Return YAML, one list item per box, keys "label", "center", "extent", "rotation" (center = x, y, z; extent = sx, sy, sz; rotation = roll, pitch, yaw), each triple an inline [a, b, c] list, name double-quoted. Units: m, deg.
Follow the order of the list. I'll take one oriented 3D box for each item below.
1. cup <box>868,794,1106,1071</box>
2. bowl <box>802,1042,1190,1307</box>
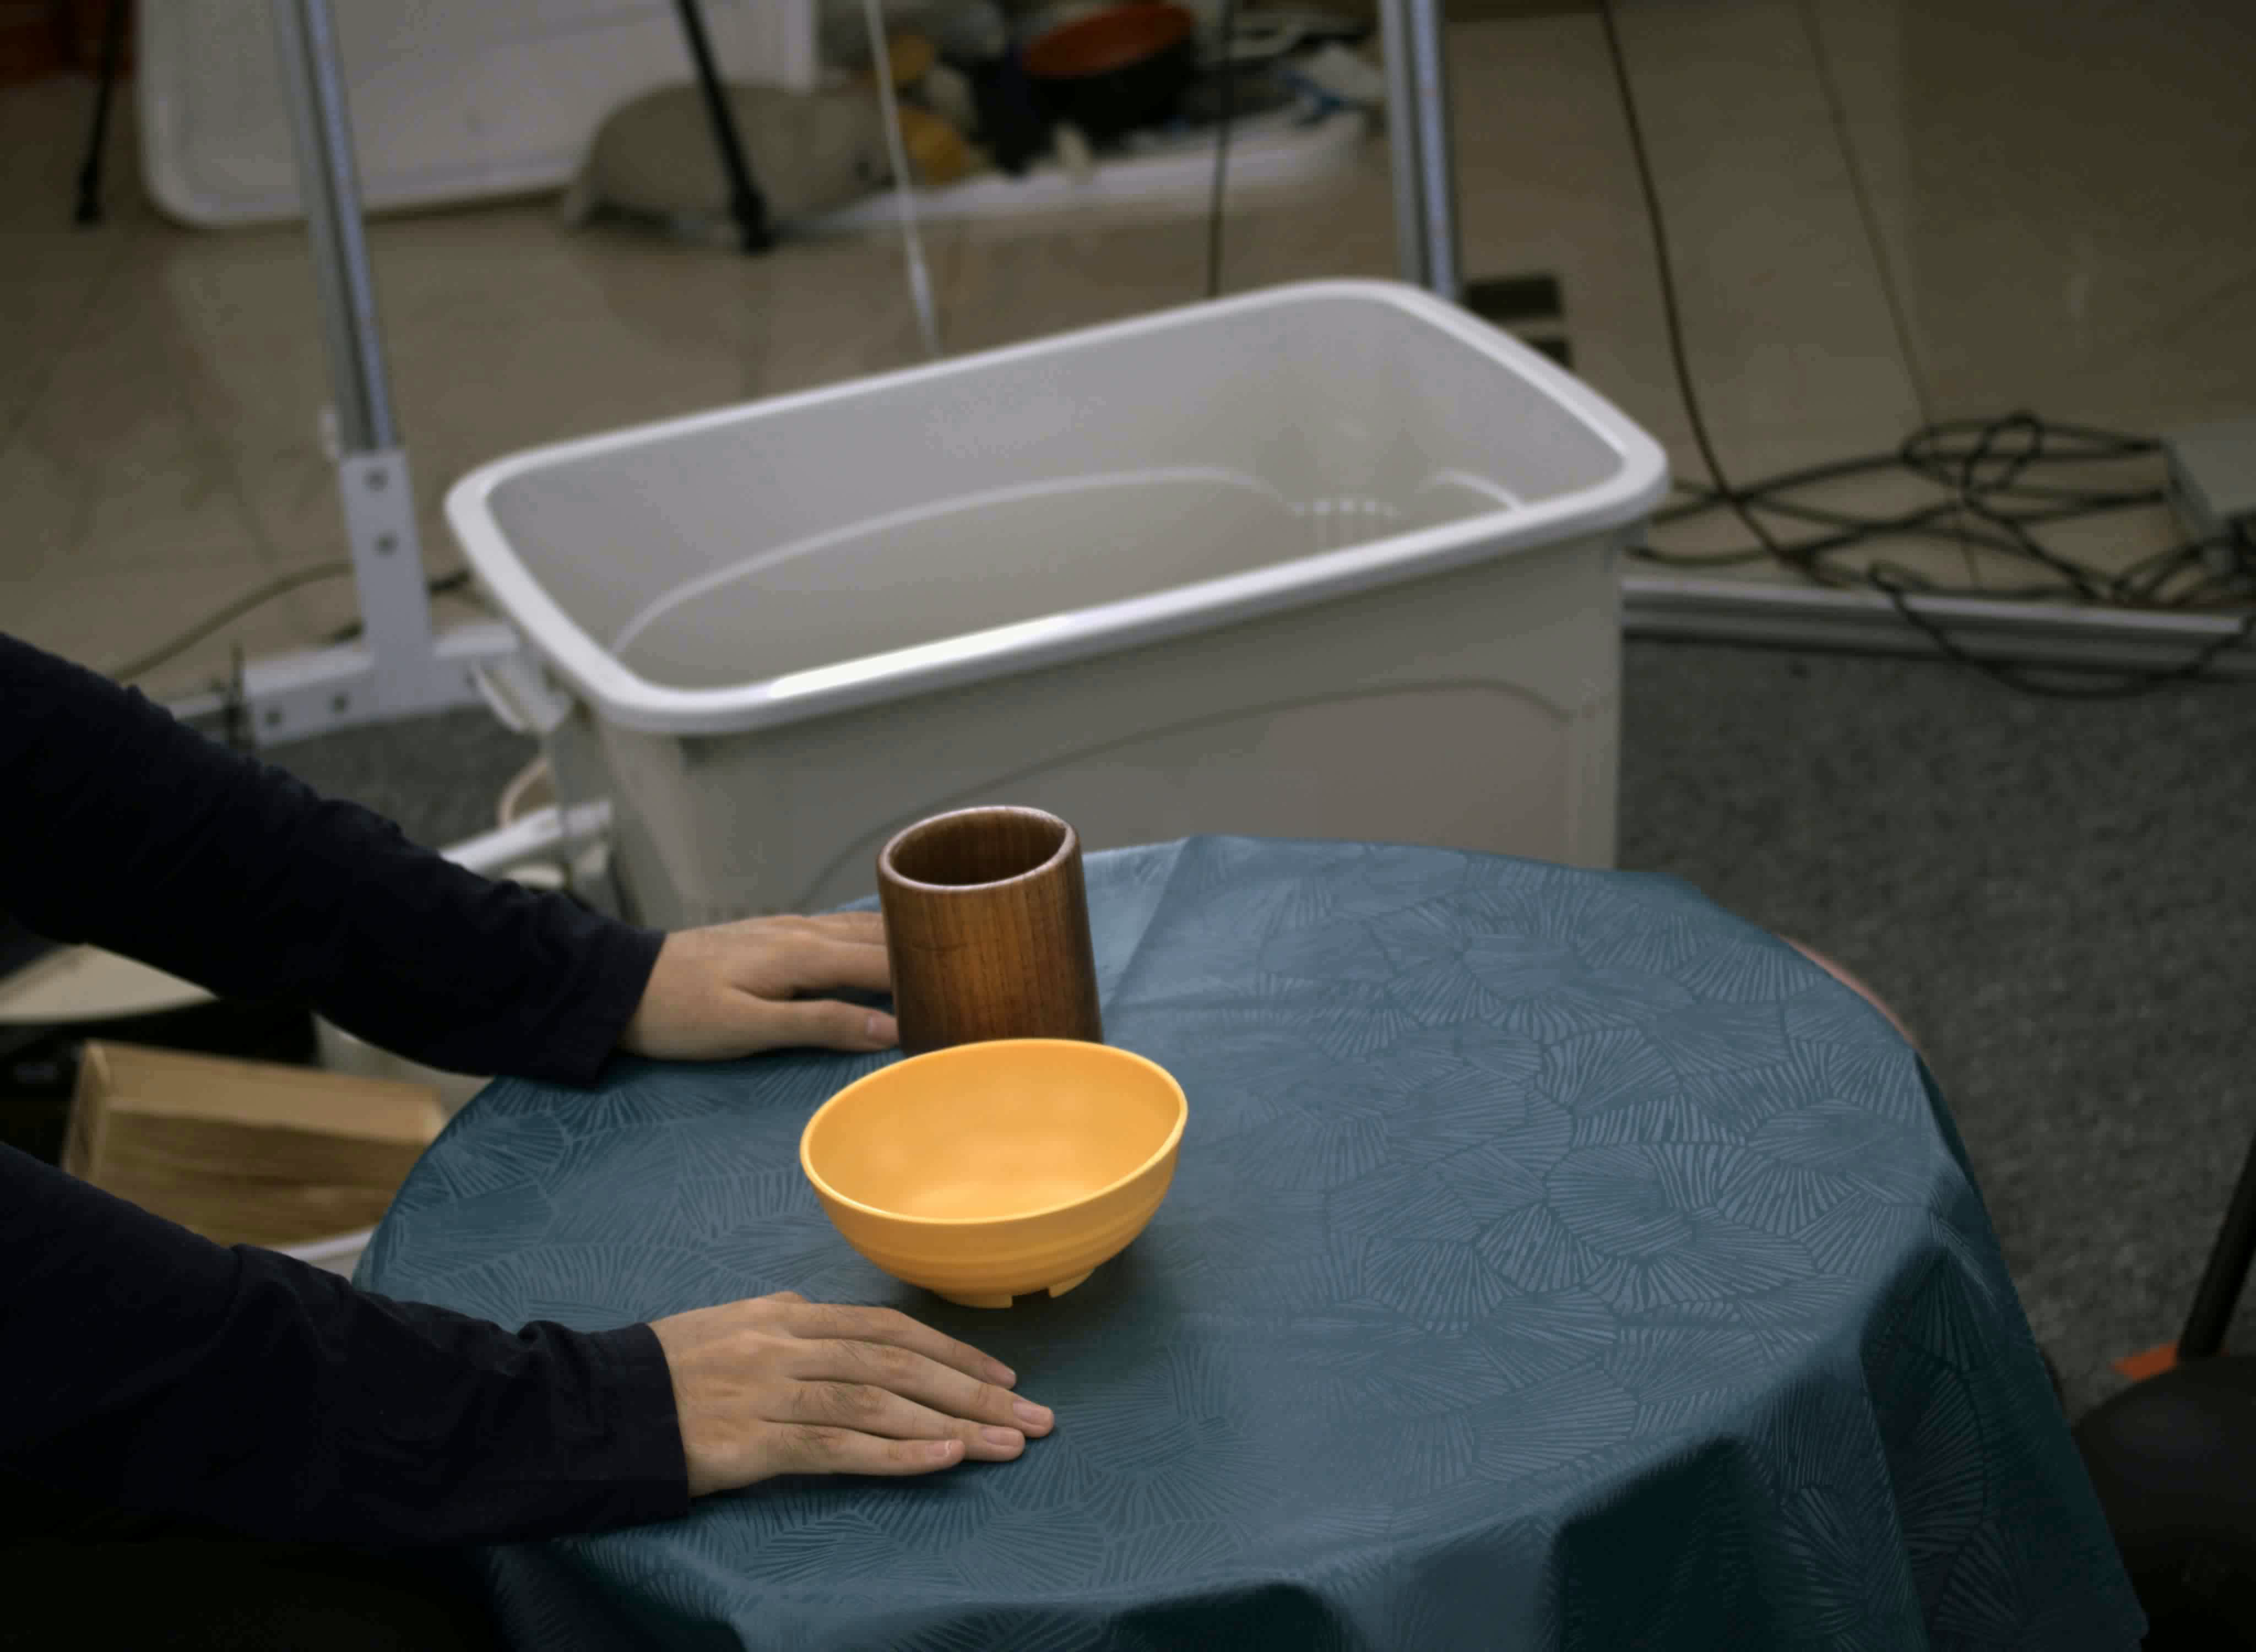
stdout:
- label: "cup"
  center: [-0.053, 0.057, 2.198]
  extent: [0.087, 0.120, 0.086]
  rotation: [-6, 24, 3]
- label: "bowl"
  center: [-0.045, 0.136, 2.092]
  extent: [0.145, 0.061, 0.143]
  rotation: [-6, 24, 3]
